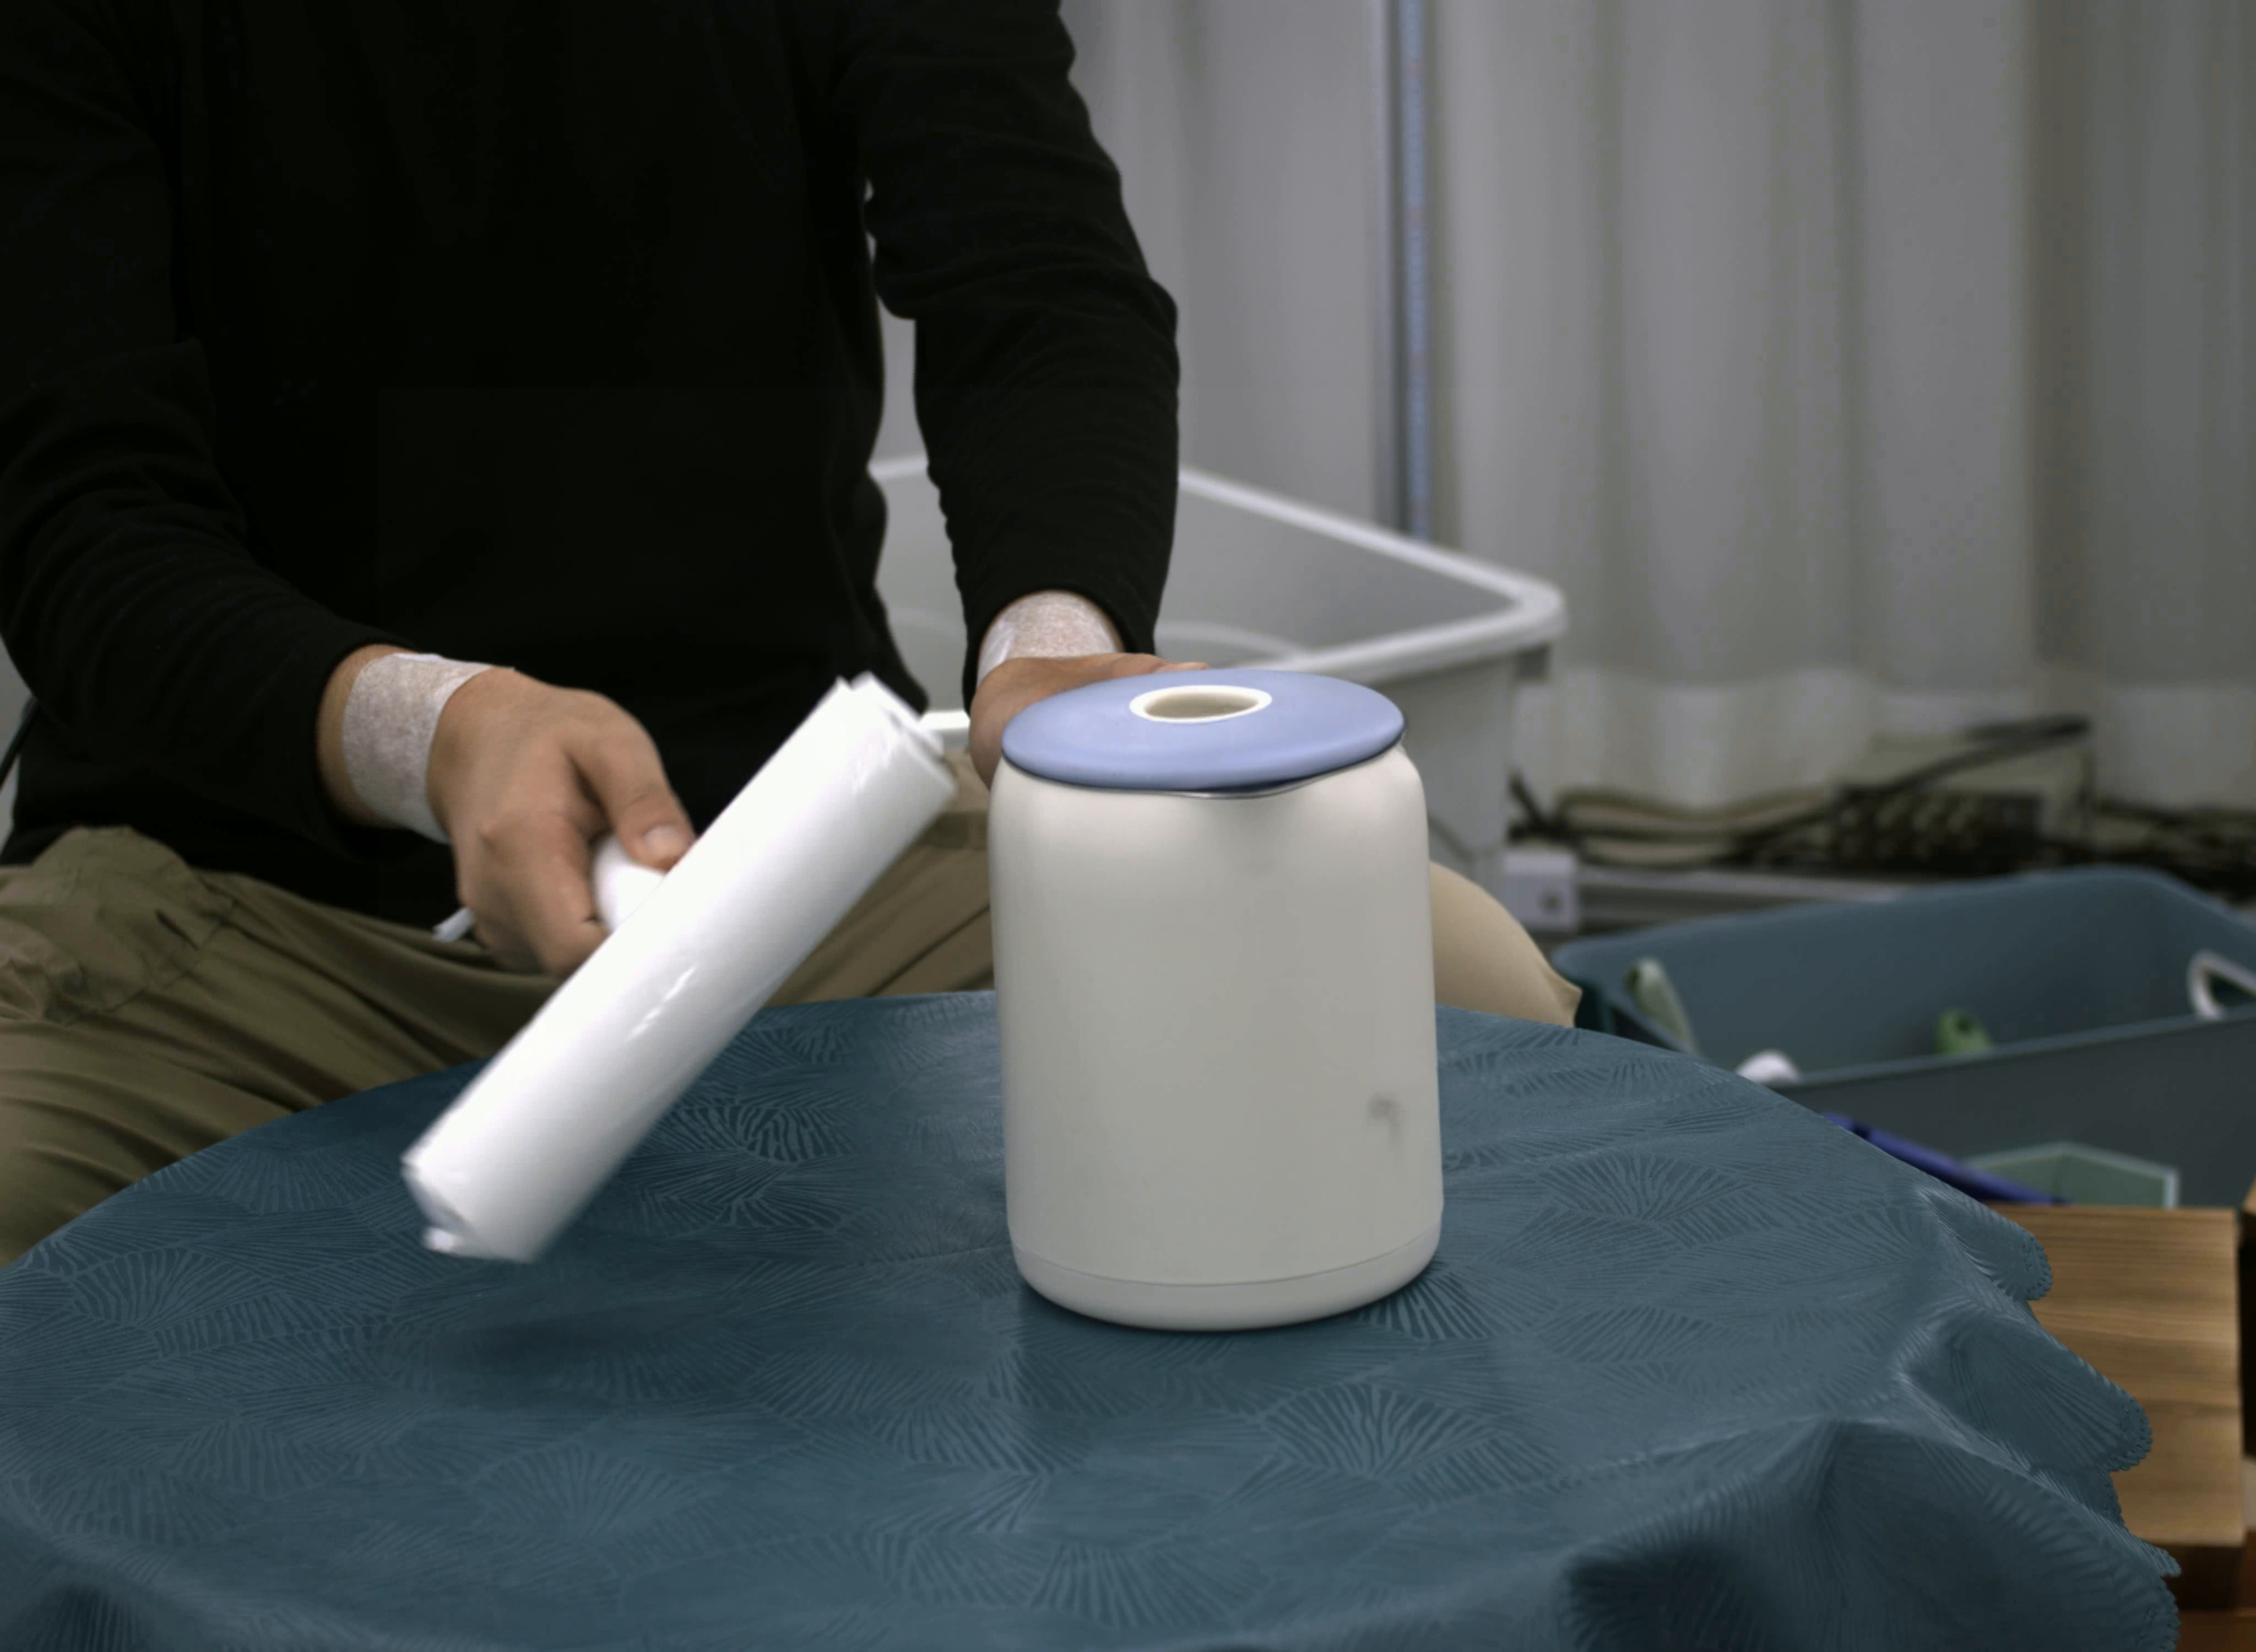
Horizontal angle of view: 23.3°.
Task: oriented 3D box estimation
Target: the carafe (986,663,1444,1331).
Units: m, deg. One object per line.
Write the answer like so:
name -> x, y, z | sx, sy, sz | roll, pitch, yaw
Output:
carafe -> 0.020, 0.044, 1.644 | 0.131, 0.182, 0.192 | -5, 12, -13

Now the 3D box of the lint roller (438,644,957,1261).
lint roller -> -0.149, 0.020, 1.683 | 0.048, 0.203, 0.227 | 38, 0, -21
